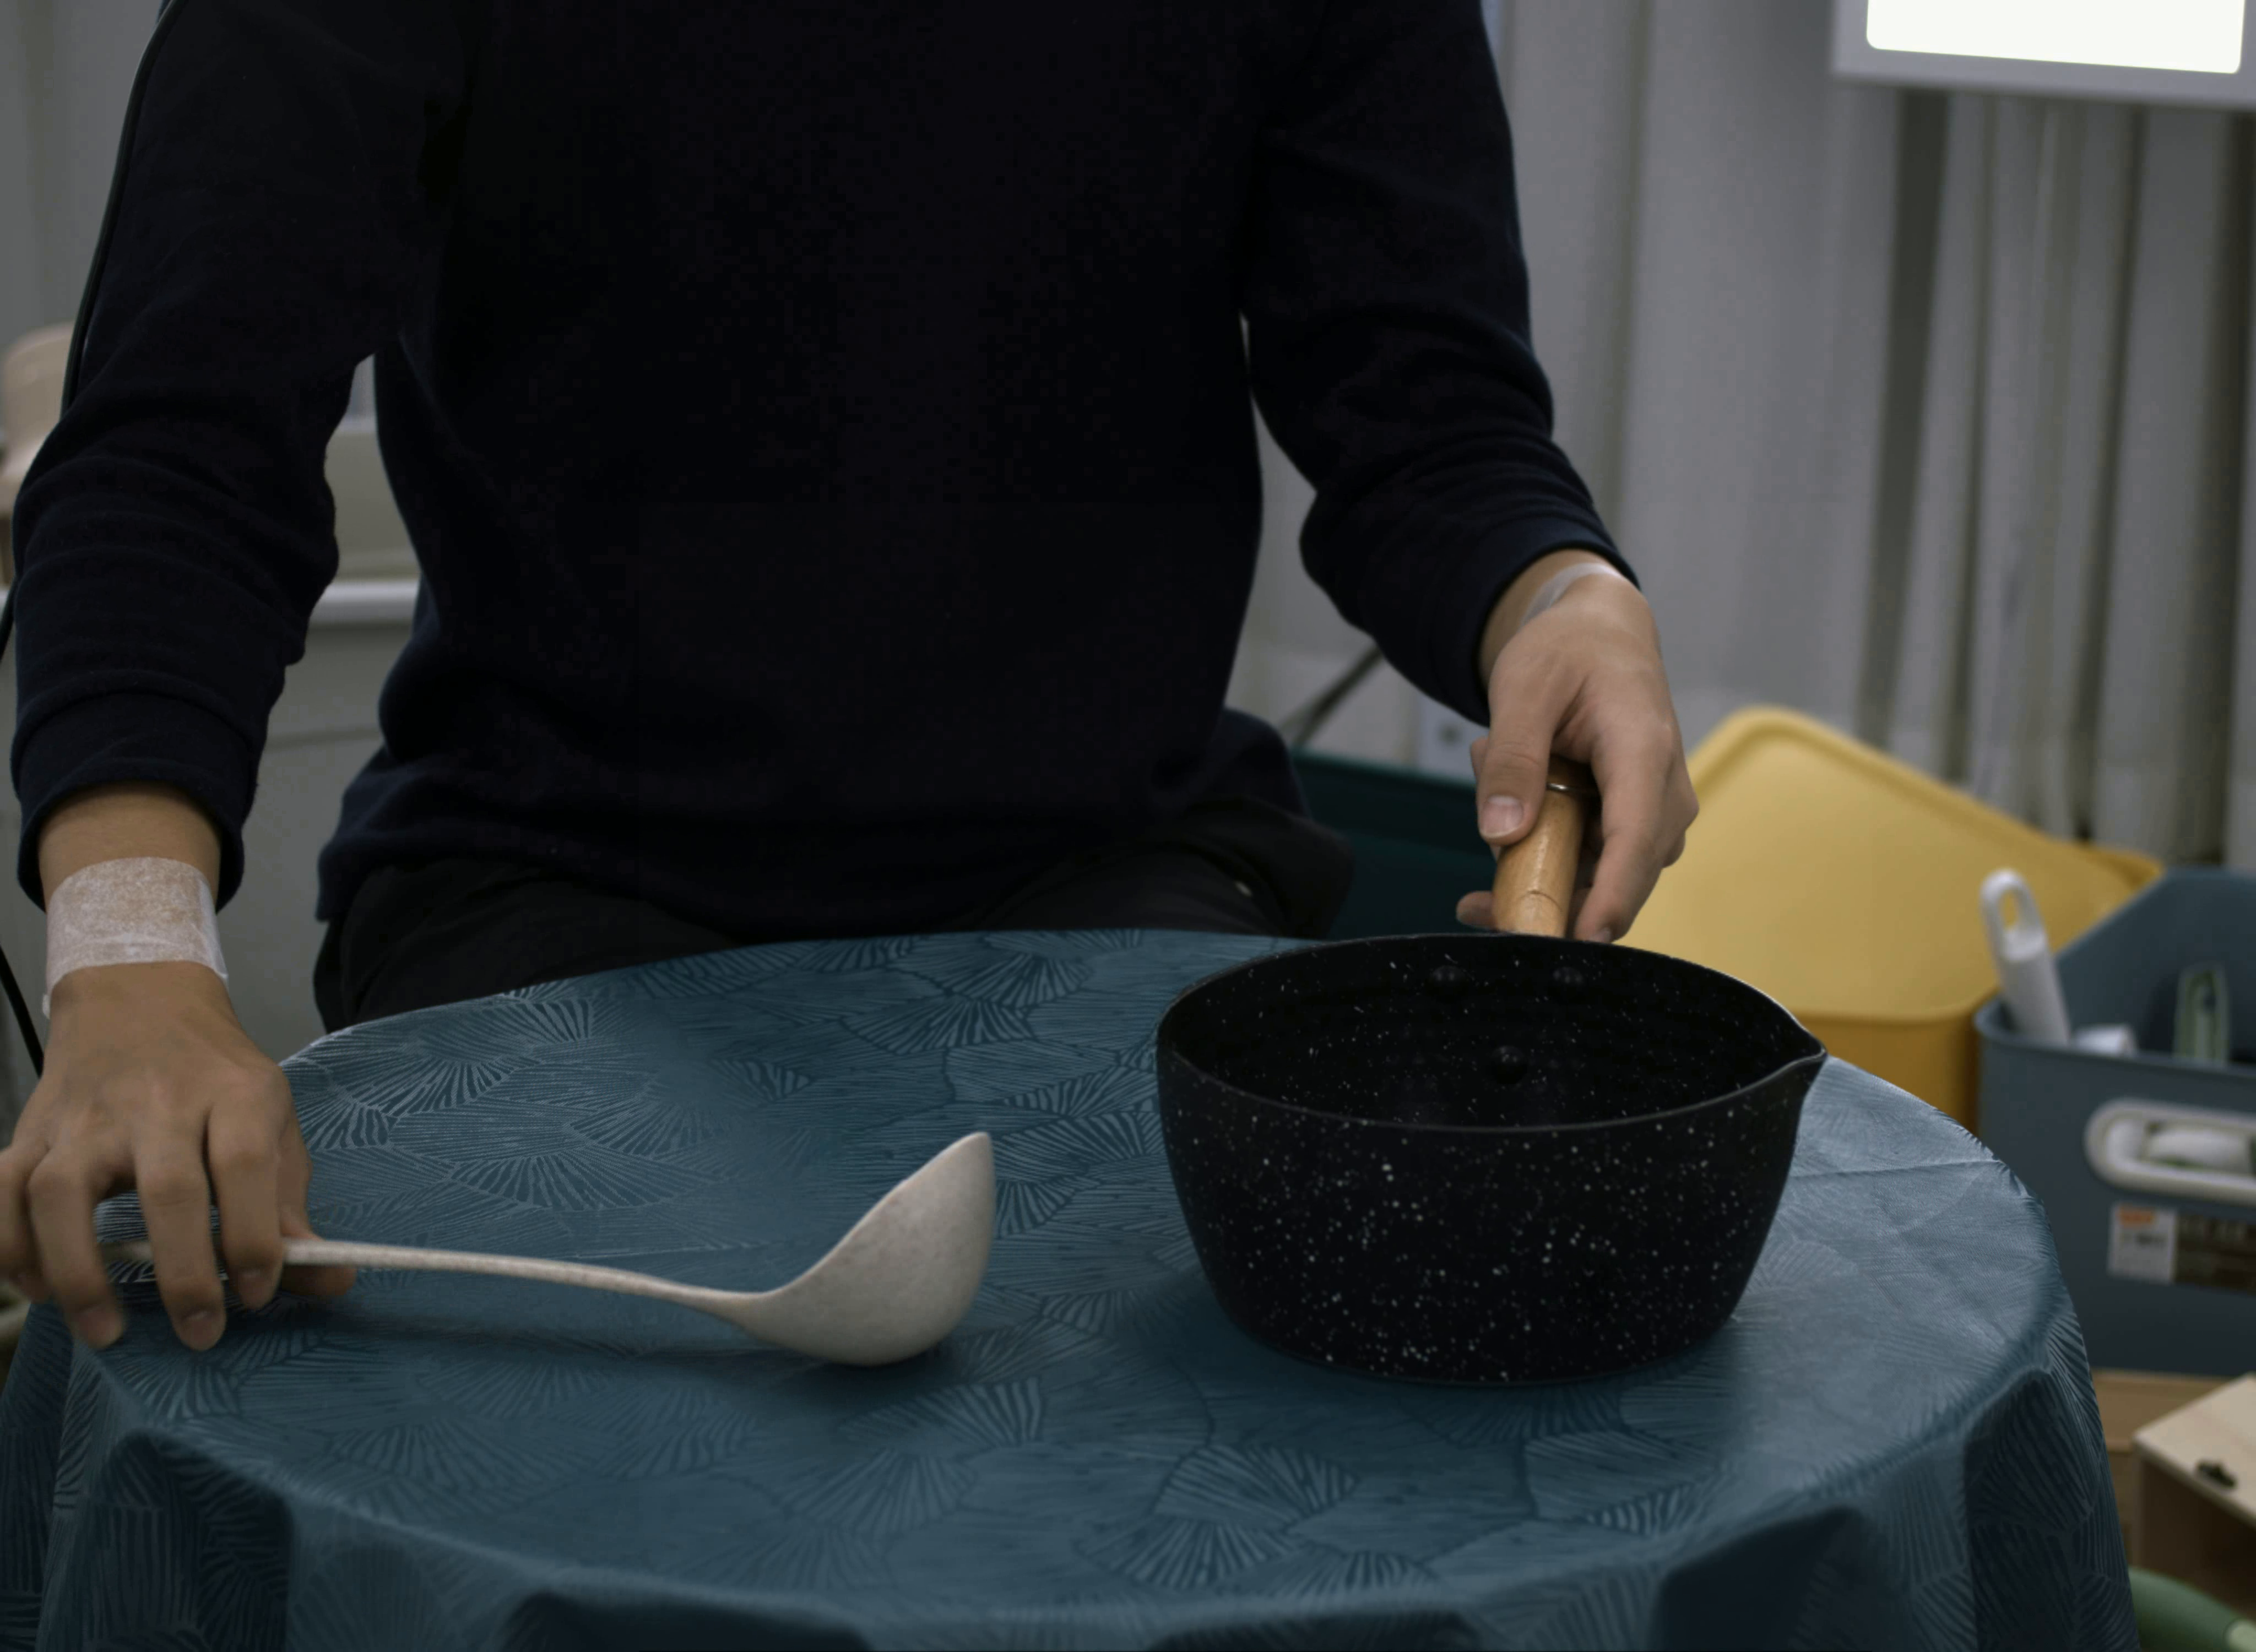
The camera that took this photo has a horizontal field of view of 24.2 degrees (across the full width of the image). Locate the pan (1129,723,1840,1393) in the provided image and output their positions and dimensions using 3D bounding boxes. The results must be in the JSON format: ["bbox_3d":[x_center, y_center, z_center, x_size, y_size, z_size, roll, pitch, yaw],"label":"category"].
[{"bbox_3d":[0.113,0.064,1.595,0.206,0.109,0.342,2,17,8],"label":"pan"}]

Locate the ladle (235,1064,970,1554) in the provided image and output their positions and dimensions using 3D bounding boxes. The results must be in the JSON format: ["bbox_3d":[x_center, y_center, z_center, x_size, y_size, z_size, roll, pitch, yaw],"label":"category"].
[{"bbox_3d":[-0.162,0.143,1.527,0.273,0.069,0.090,-23,-32,33],"label":"ladle"}]
